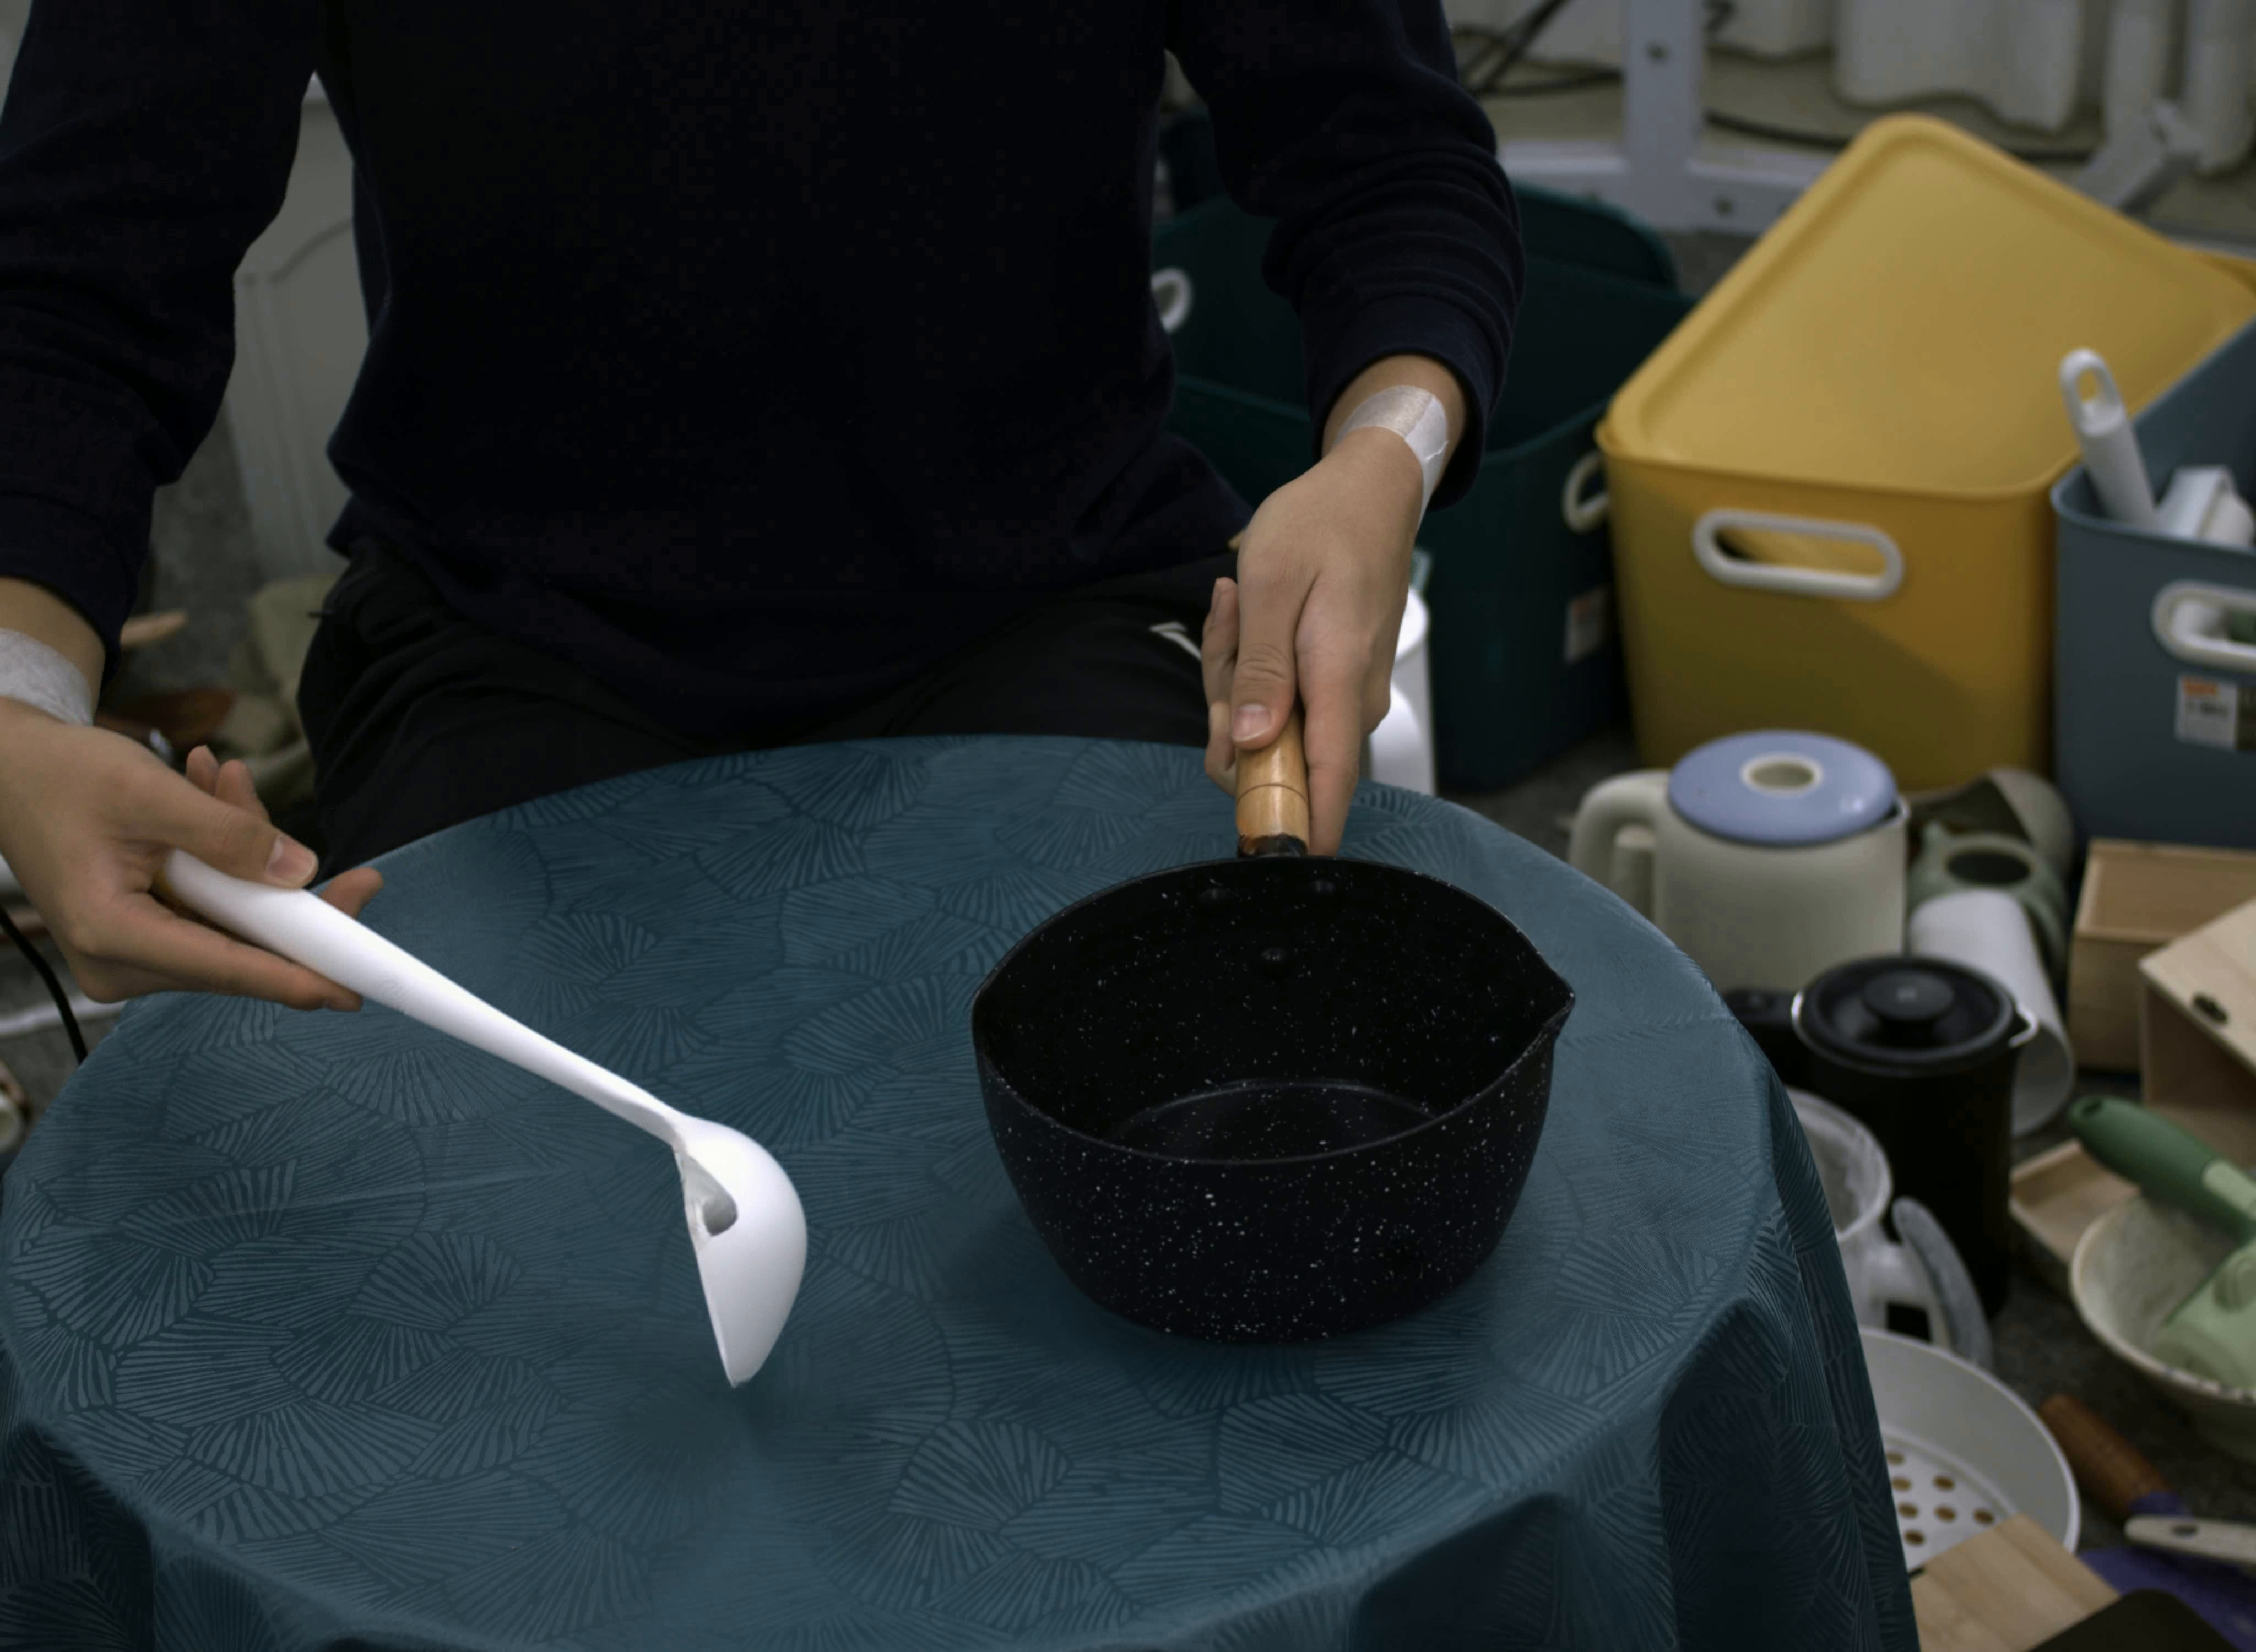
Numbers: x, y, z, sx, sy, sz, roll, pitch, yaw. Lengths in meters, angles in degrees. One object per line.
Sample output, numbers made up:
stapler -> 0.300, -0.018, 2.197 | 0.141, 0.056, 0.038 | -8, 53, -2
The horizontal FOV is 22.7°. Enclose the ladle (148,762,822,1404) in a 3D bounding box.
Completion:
ladle -> -0.210, 0.077, 1.779 | 0.293, 0.089, 0.071 | 32, 64, 23

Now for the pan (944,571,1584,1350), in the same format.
pan -> 0.047, 0.042, 1.883 | 0.206, 0.107, 0.348 | -4, 31, 3
